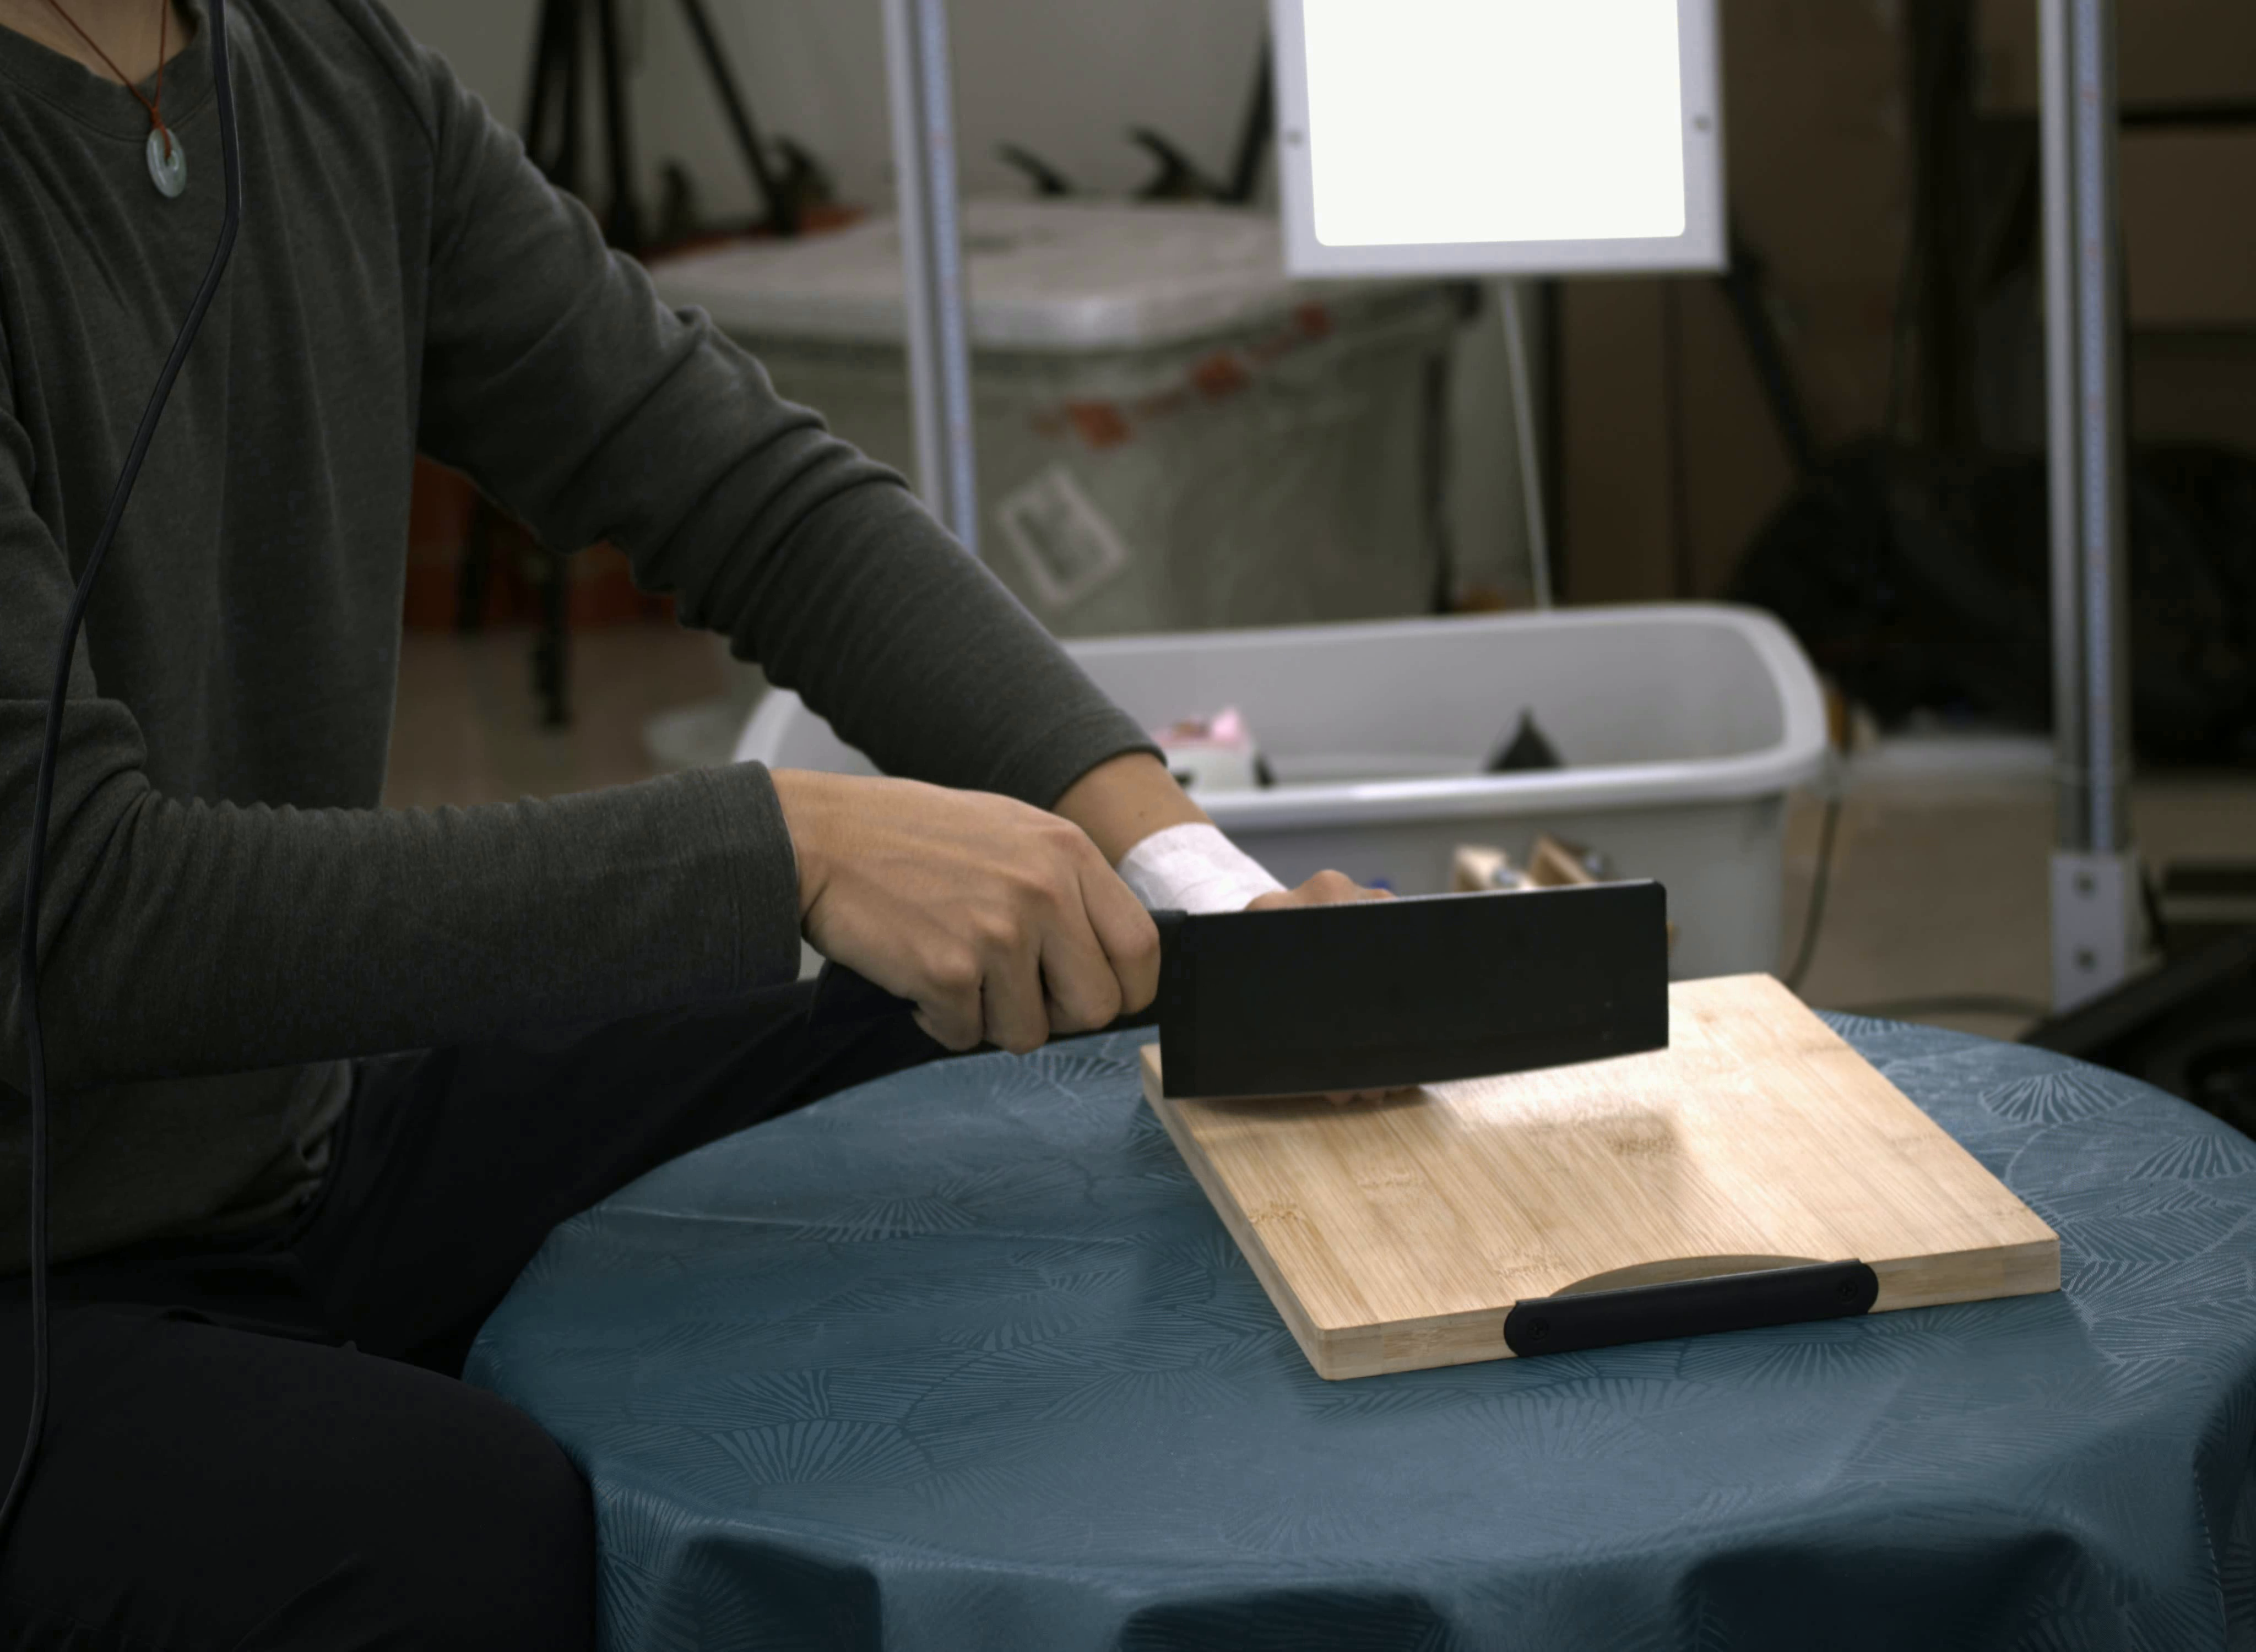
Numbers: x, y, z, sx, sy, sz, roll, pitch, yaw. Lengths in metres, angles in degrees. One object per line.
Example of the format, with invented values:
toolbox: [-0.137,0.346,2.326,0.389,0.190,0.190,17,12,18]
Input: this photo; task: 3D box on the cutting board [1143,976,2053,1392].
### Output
cutting board: [0.150,0.115,1.863,0.248,0.023,0.350,-8,14,-7]

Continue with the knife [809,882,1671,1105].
knife: [0.041,0.057,1.893,0.300,0.081,0.021,0,9,-5]
